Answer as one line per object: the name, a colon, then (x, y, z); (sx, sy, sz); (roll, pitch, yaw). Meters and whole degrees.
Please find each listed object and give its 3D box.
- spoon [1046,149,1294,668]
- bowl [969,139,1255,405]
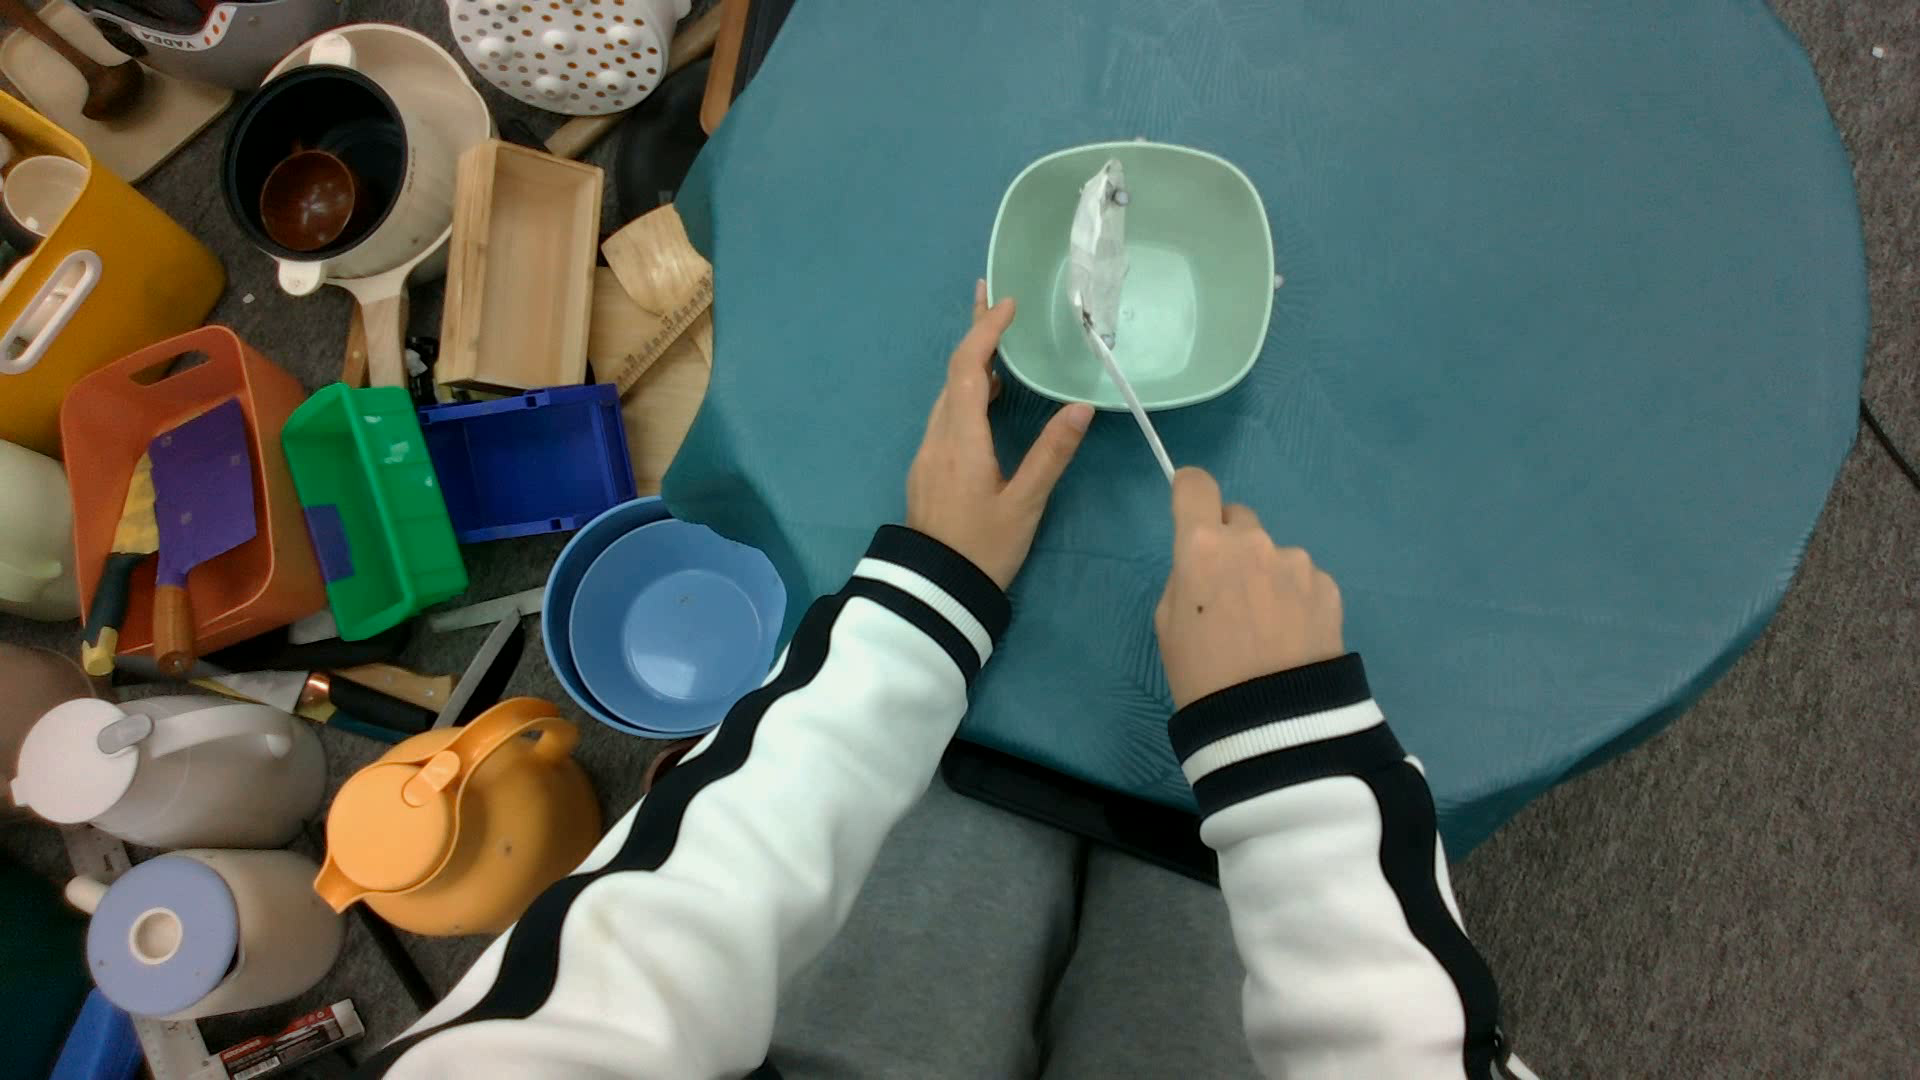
spoon: (0.100, -0.069, 0.618); (0.059, 0.100, 0.278); (-27, 58, 1)
bowl: (0.075, -0.127, 0.696); (0.151, 0.058, 0.152); (0, 76, 2)
